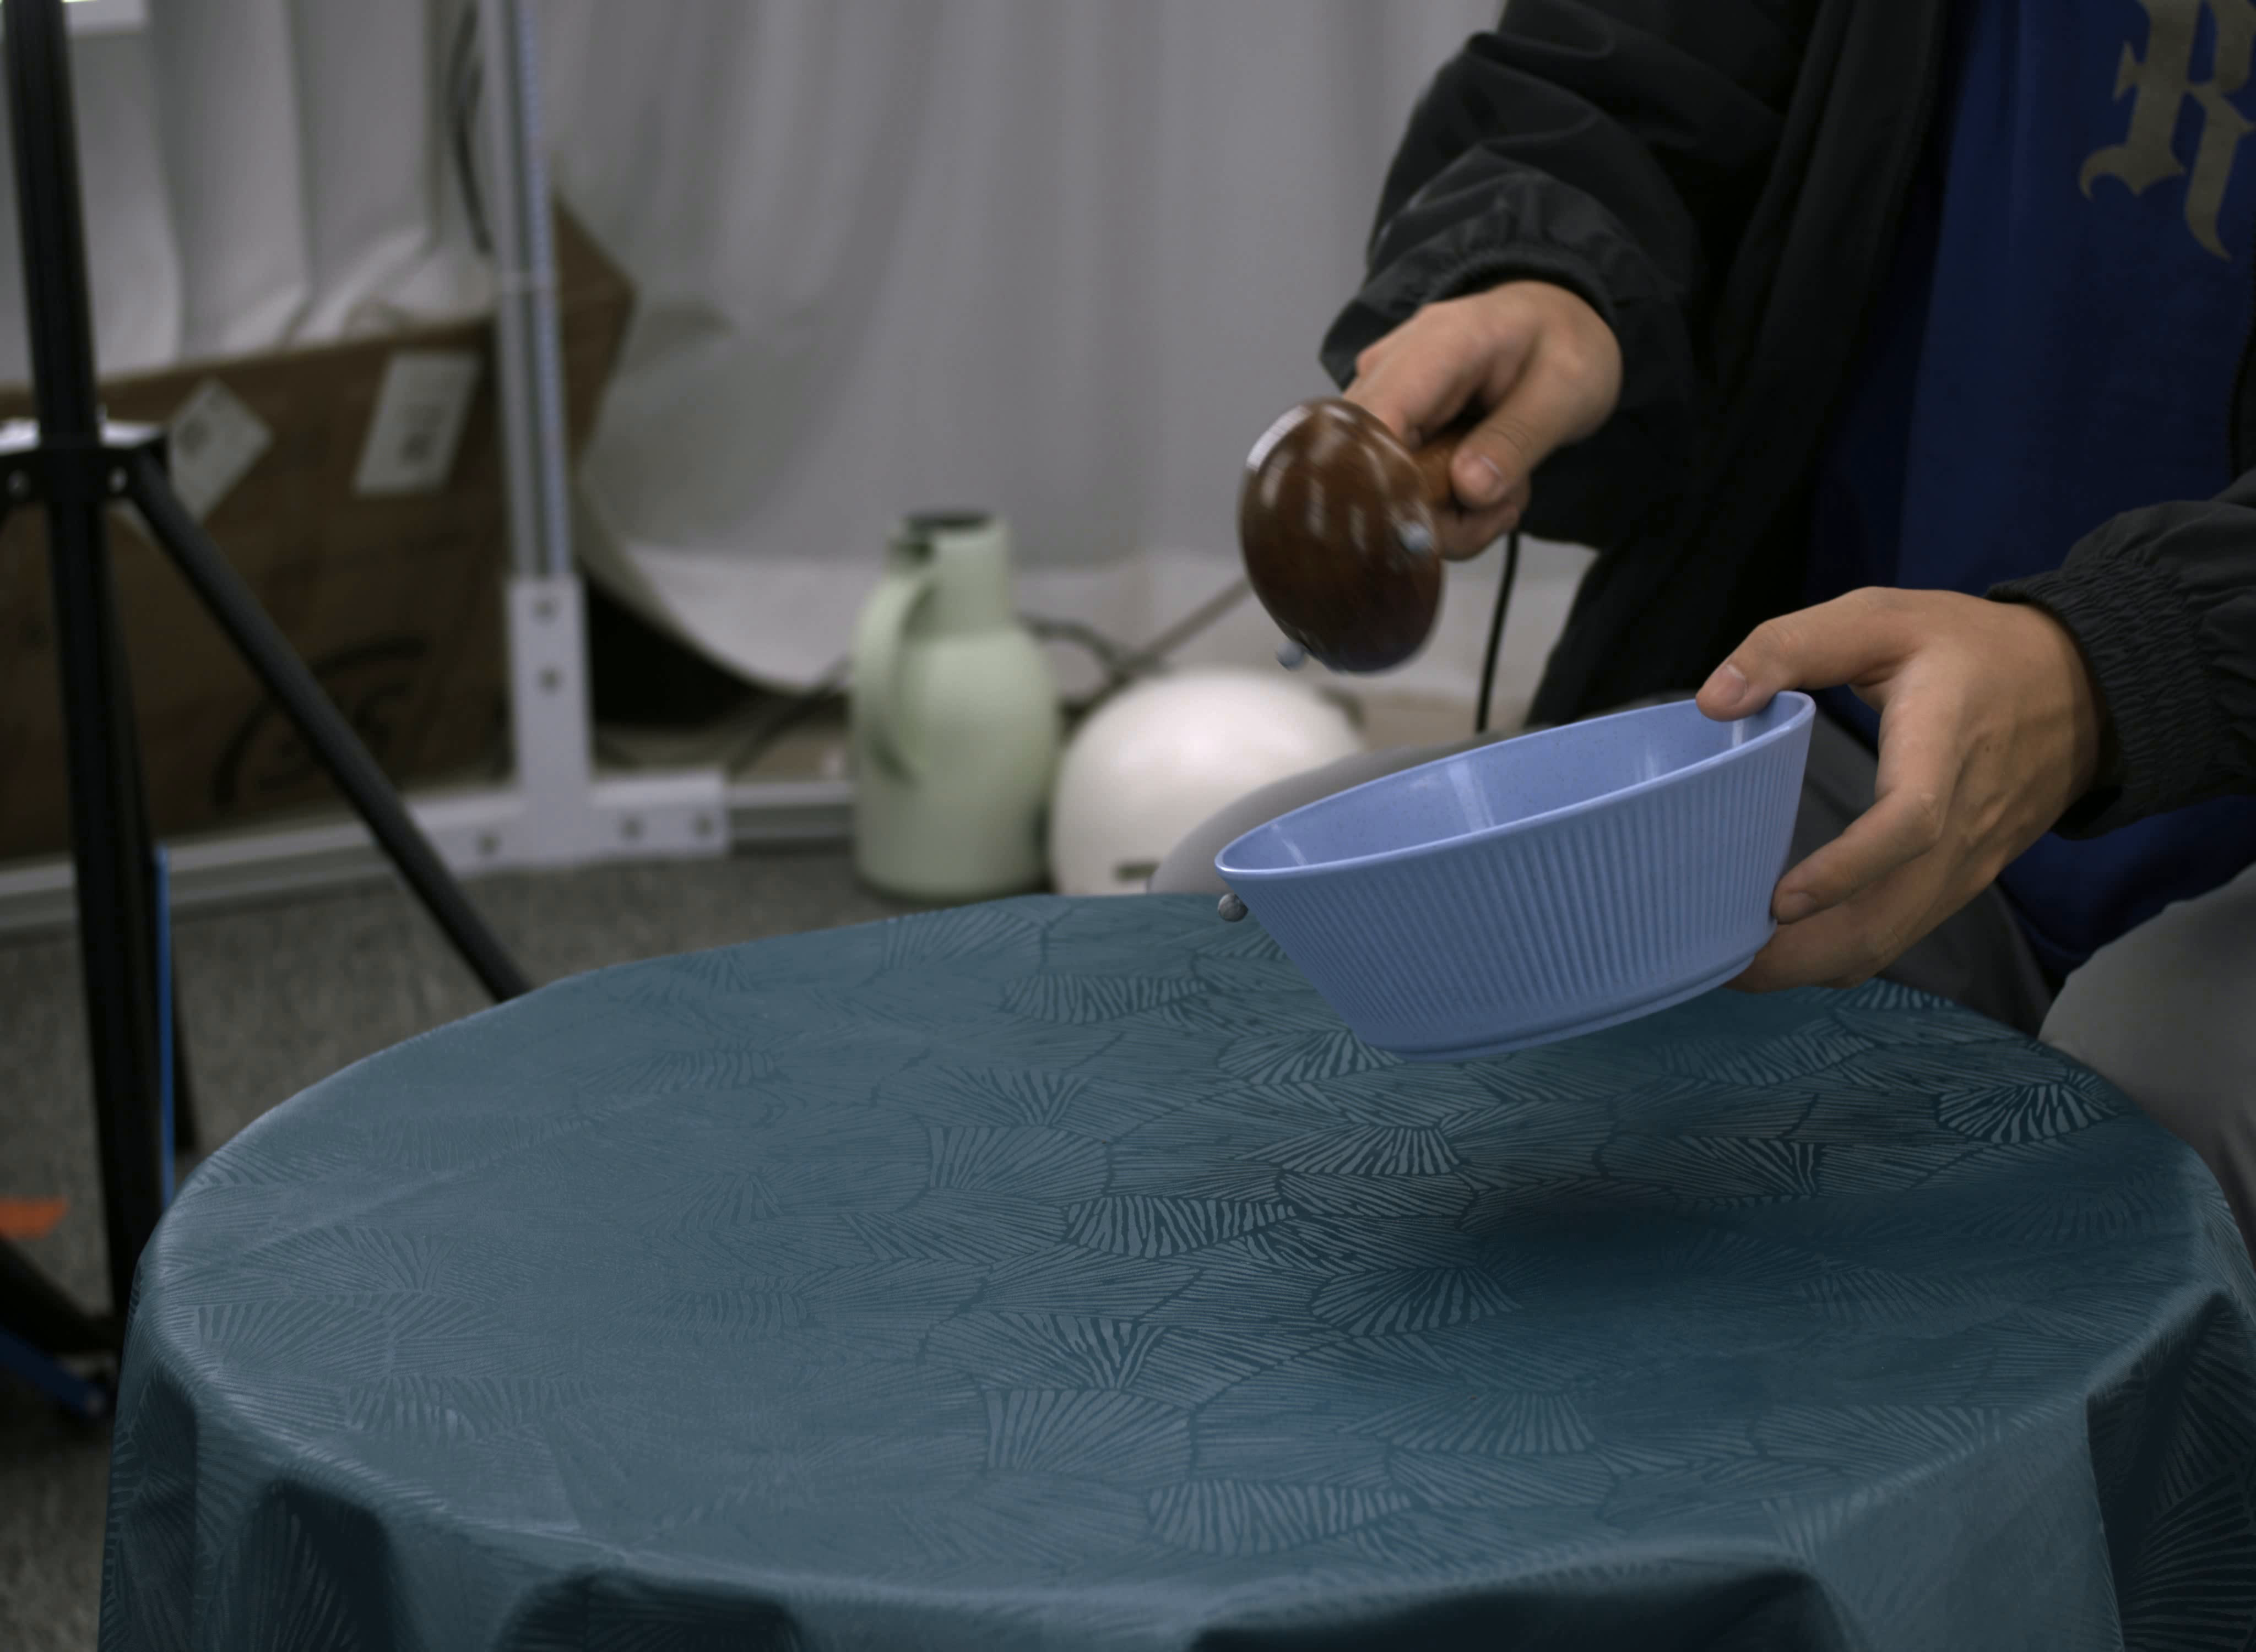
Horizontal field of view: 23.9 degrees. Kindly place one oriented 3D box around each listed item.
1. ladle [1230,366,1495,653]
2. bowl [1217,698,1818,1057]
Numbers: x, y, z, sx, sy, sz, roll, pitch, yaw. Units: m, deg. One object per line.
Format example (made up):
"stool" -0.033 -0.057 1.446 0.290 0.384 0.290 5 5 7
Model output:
"ladle" 0.096 -0.104 1.616 0.077 0.082 0.270 -4 7 23
"bowl" 0.118 0.018 1.507 0.175 0.070 0.176 -15 6 0
